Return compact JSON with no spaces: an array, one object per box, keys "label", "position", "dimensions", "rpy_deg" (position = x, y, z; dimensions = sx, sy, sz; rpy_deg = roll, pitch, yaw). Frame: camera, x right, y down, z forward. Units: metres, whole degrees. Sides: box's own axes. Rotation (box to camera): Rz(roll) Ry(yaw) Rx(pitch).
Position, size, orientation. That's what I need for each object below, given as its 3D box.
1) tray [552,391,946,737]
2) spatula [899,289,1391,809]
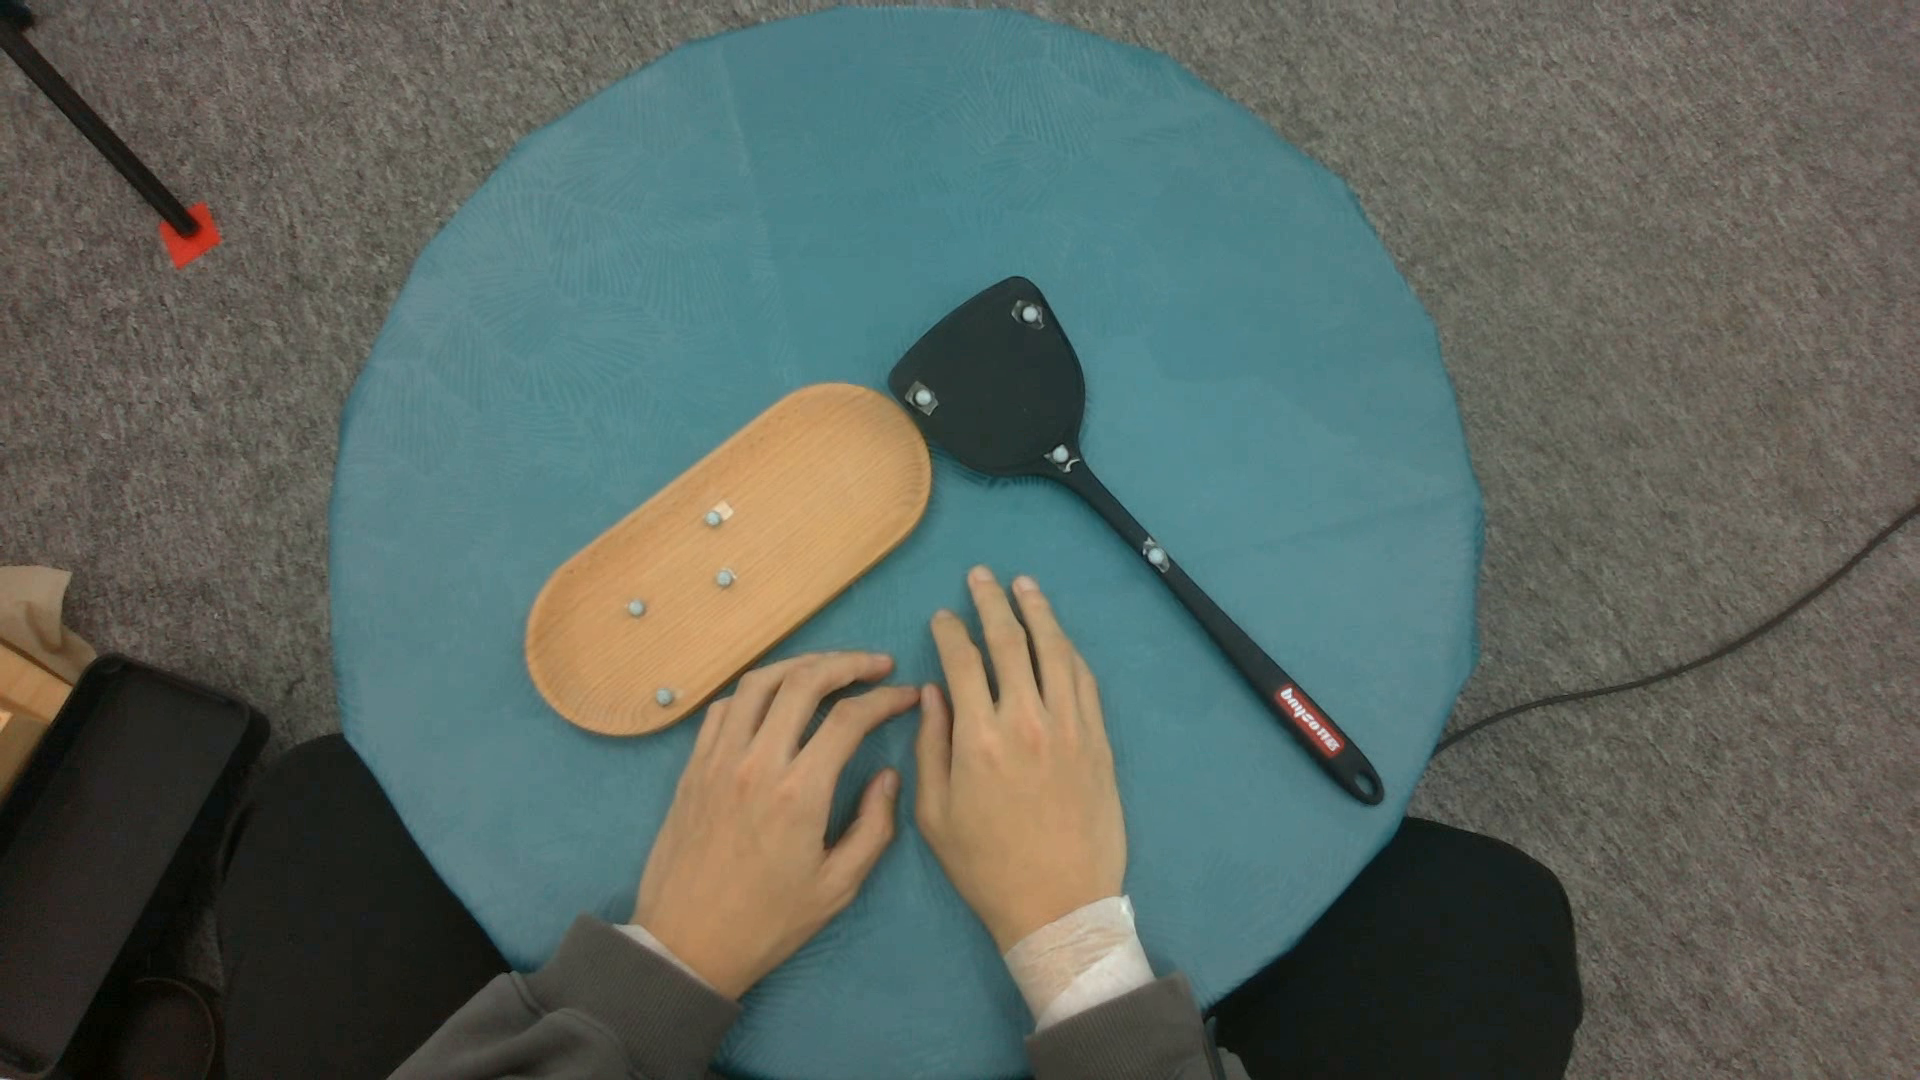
[{"label":"tray","position":[-0.108,0.010,0.719],"dimensions":[0.231,0.020,0.102],"rpy_deg":[-39,76,-13]},{"label":"spatula","position":[0.105,0.011,0.708],"dimensions":[0.100,0.040,0.326],"rpy_deg":[-40,76,-10]}]
